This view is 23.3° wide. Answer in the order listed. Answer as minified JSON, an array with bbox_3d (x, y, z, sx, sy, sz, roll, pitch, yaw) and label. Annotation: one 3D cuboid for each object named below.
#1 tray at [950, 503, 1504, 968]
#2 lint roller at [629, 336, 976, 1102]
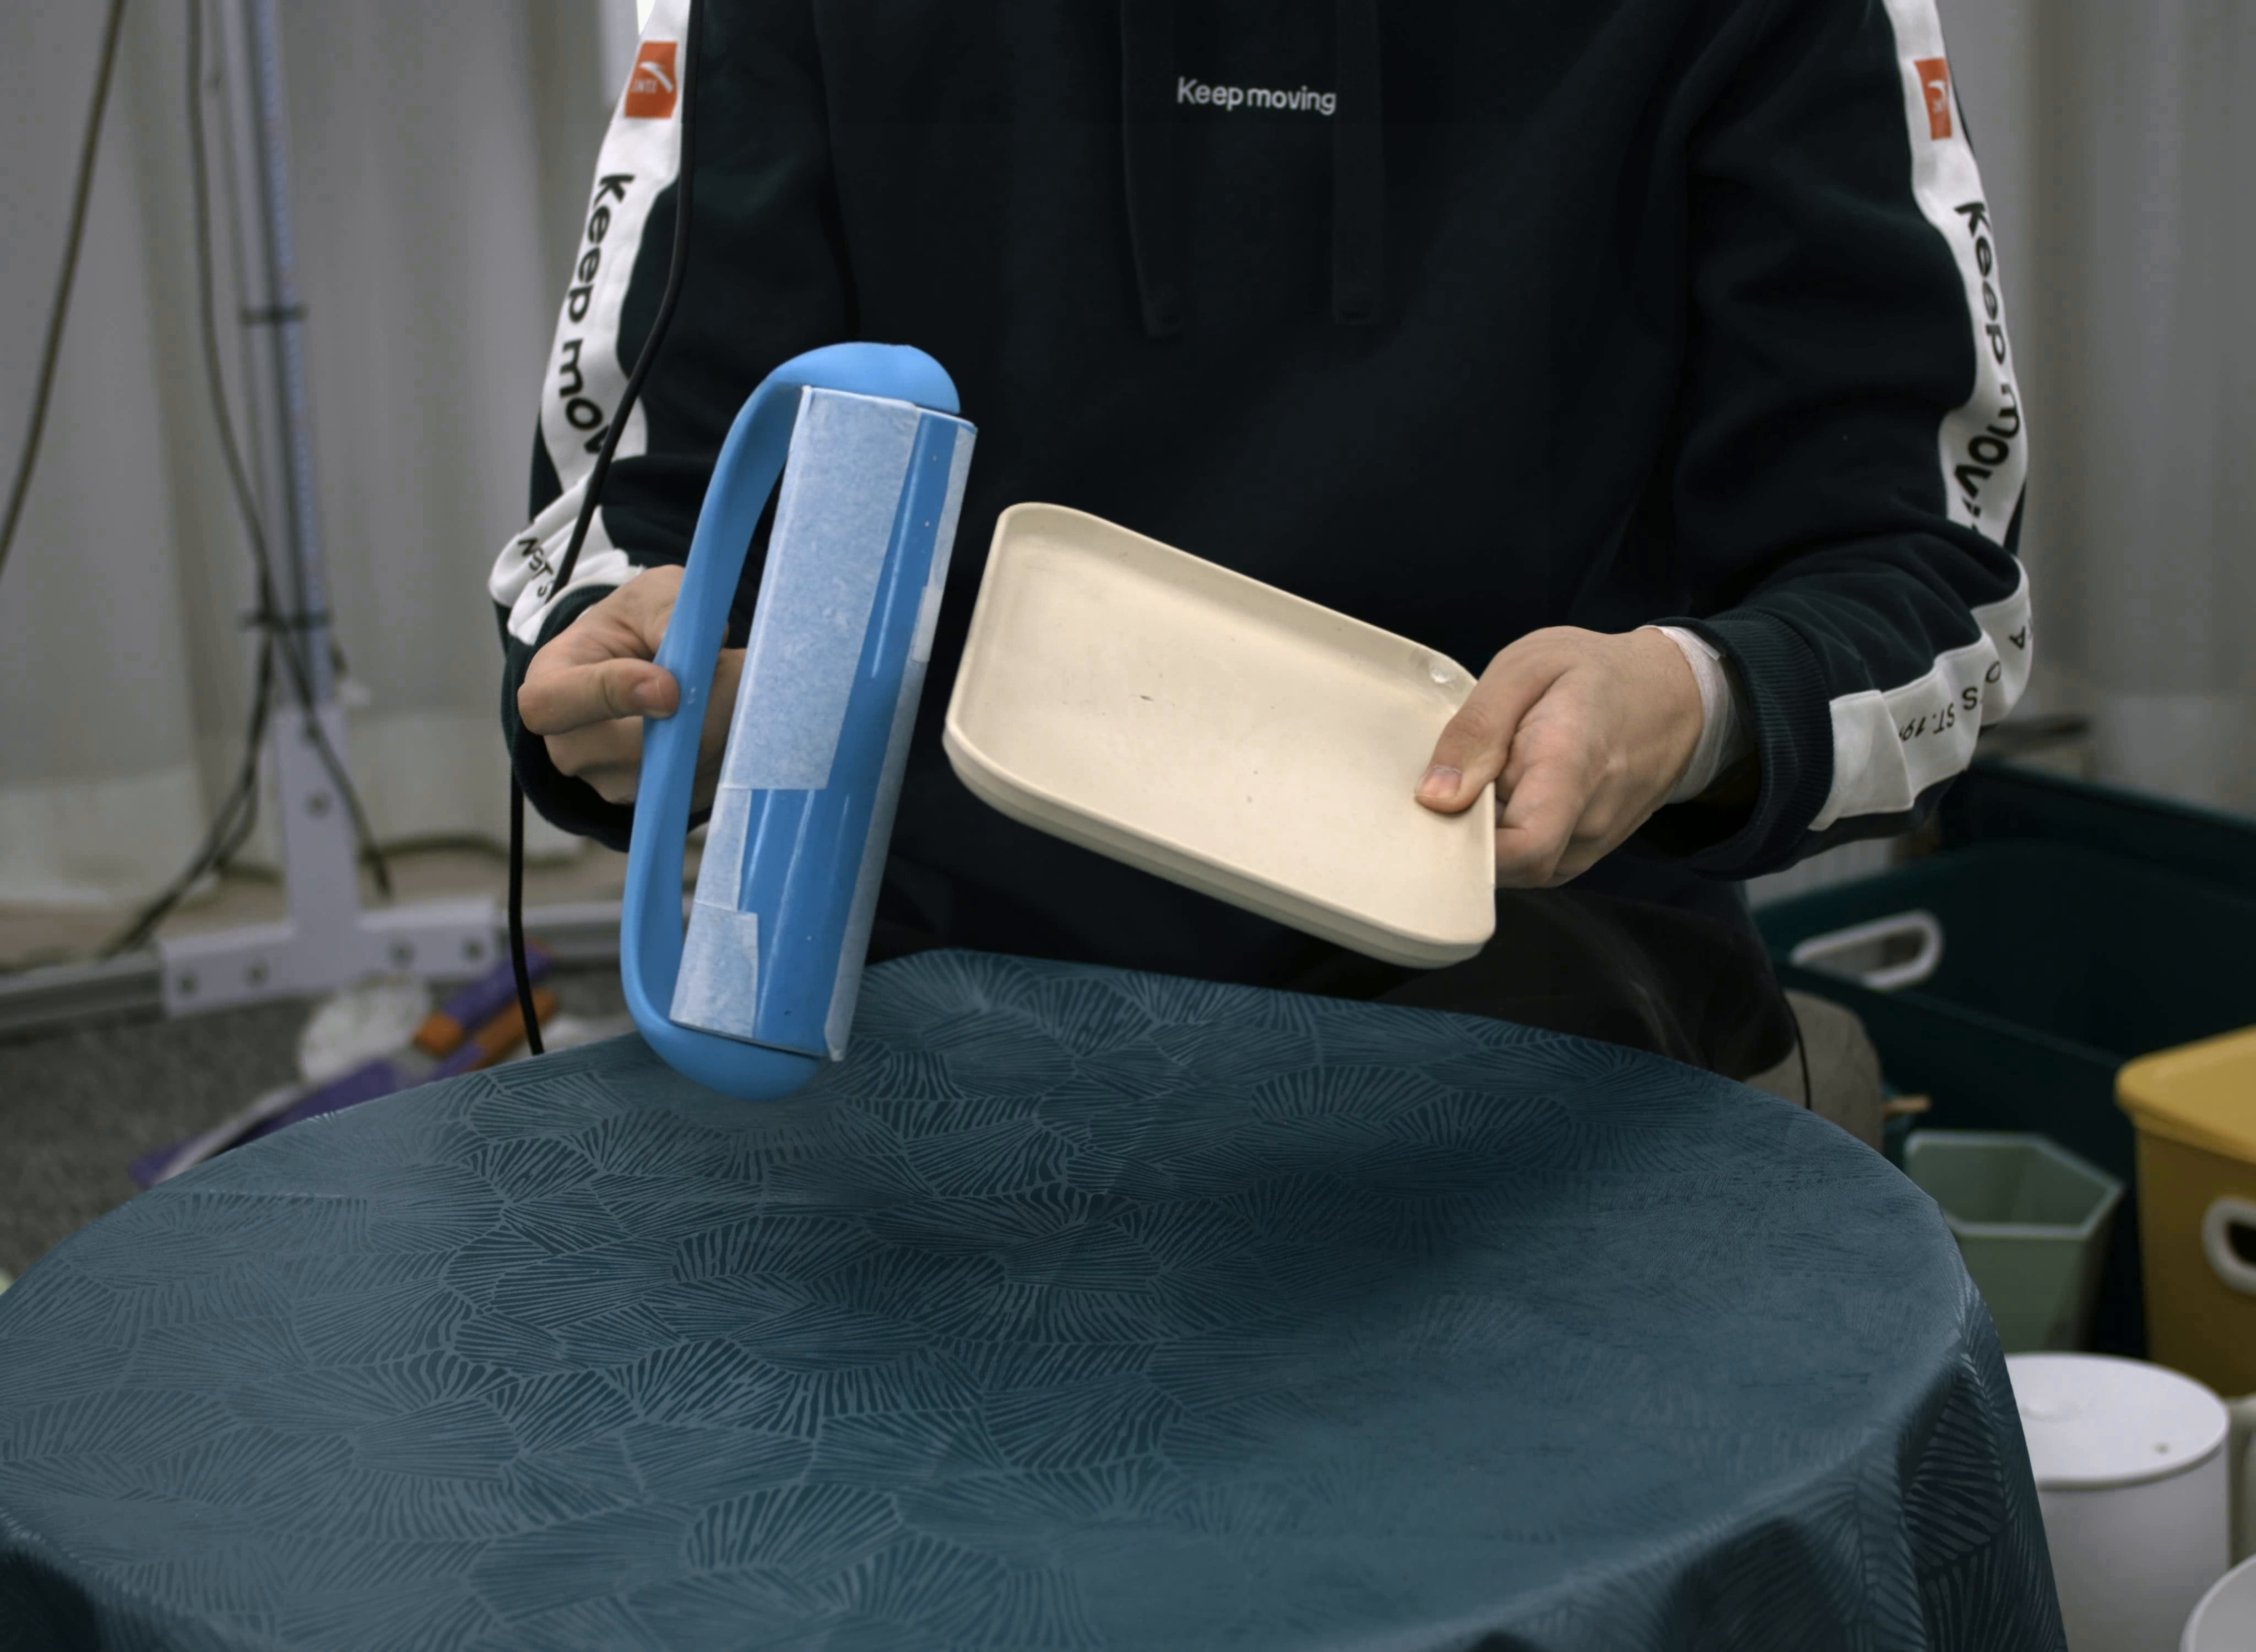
[{"bbox_3d":[0.031,-0.029,1.651,0.170,0.017,0.242,20,22,-4],"label":"tray"},{"bbox_3d":[-0.115,-0.034,1.672,0.067,0.230,0.181,11,-4,-25],"label":"lint roller"}]
